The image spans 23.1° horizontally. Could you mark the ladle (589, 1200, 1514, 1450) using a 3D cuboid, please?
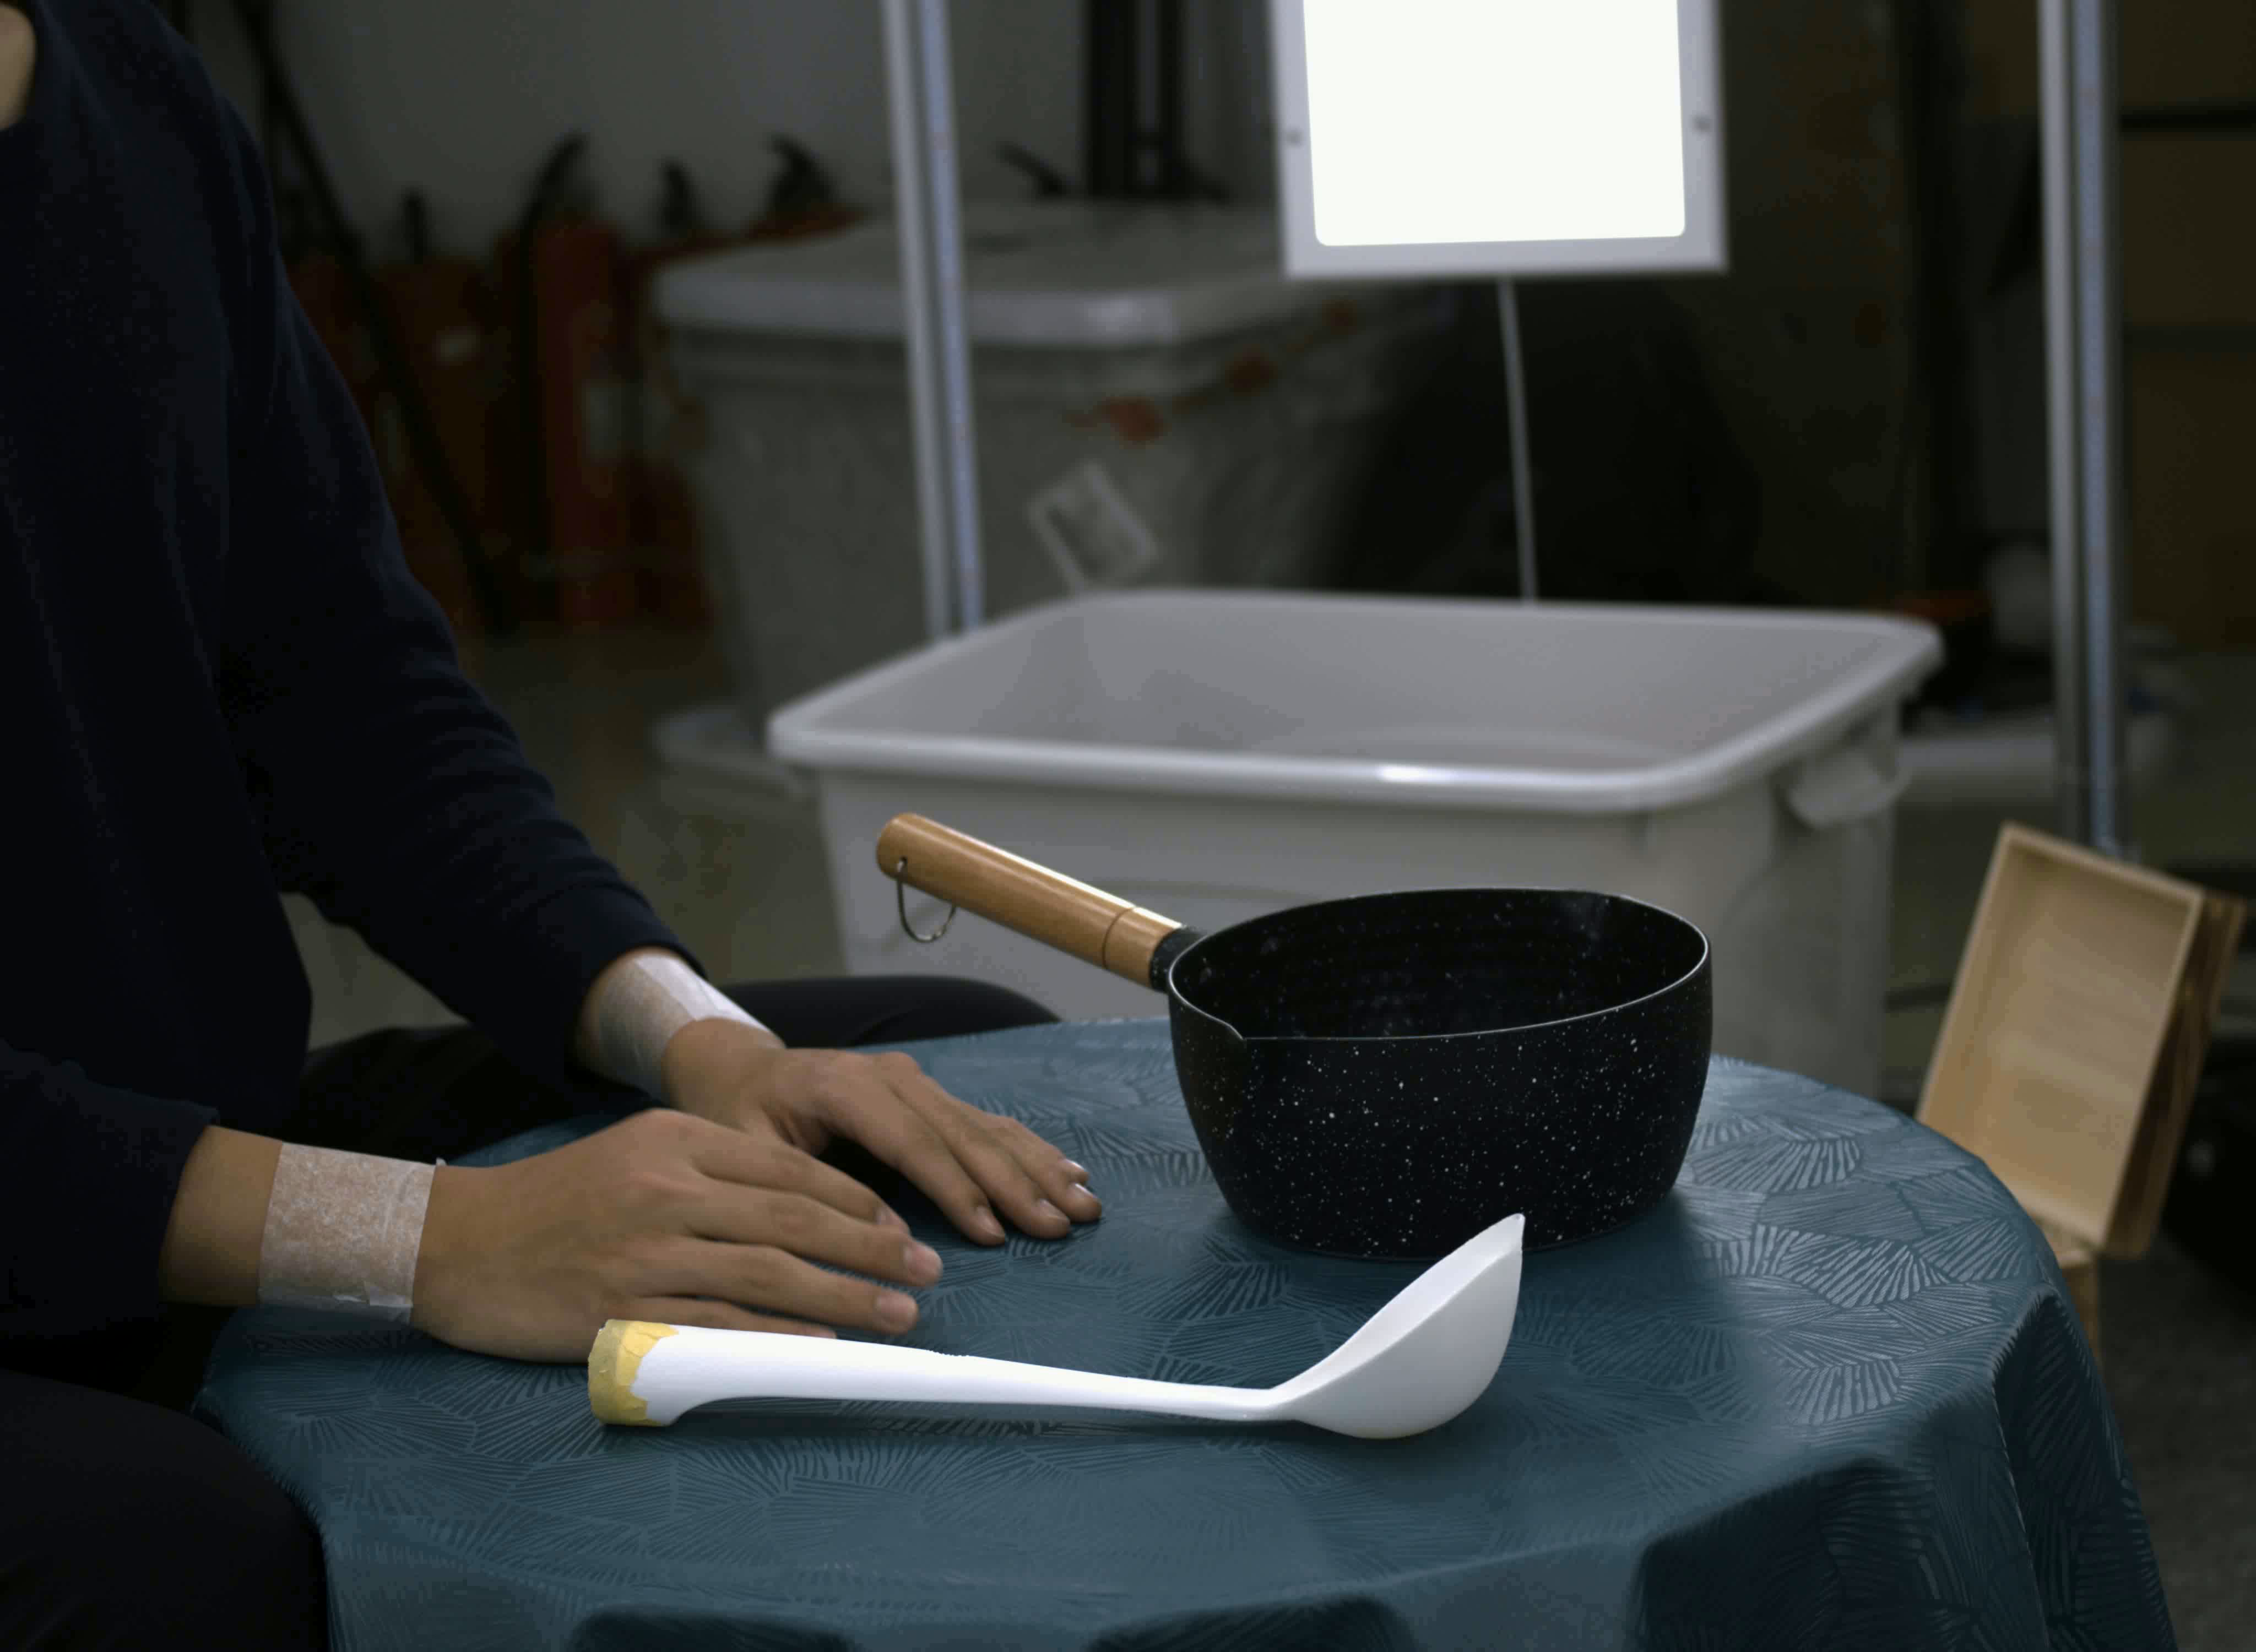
[{"bbox_3d":[-0.025,0.154,1.660,0.296,0.070,0.089,-1,20,18],"label":"ladle"}]

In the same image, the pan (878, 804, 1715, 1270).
[{"bbox_3d":[0.045,0.065,1.903,0.350,0.108,0.202,9,20,40],"label":"pan"}]
